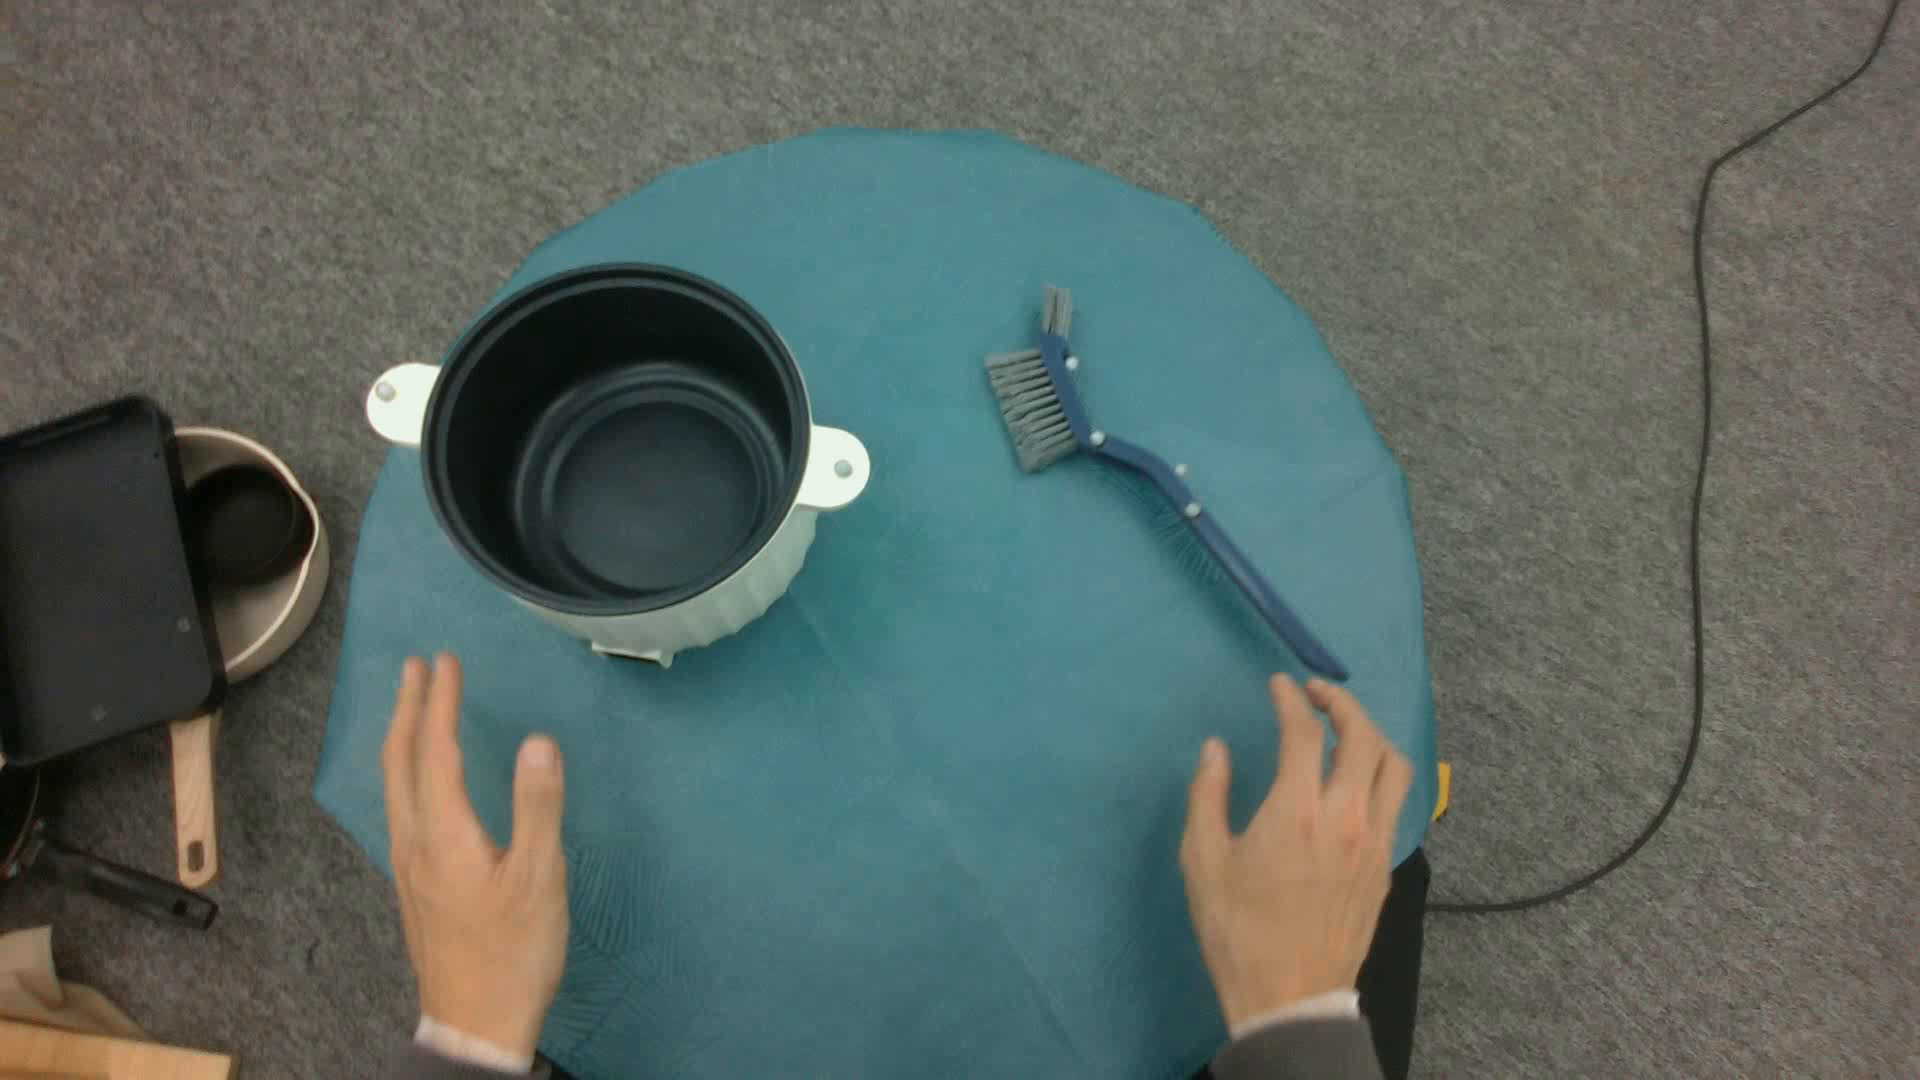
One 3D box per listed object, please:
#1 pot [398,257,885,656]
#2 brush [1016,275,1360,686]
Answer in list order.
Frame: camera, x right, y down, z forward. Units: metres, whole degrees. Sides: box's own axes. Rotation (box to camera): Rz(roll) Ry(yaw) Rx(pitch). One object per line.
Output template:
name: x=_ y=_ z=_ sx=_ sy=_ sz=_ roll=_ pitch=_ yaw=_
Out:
pot: x=-0.155 y=-0.043 z=0.729 sx=0.240 sy=0.142 sz=0.191 roll=9 pitch=77 yaw=1
brush: x=0.138 y=-0.035 z=0.782 sx=0.096 sy=0.033 sz=0.273 roll=-44 pitch=76 yaw=-9
